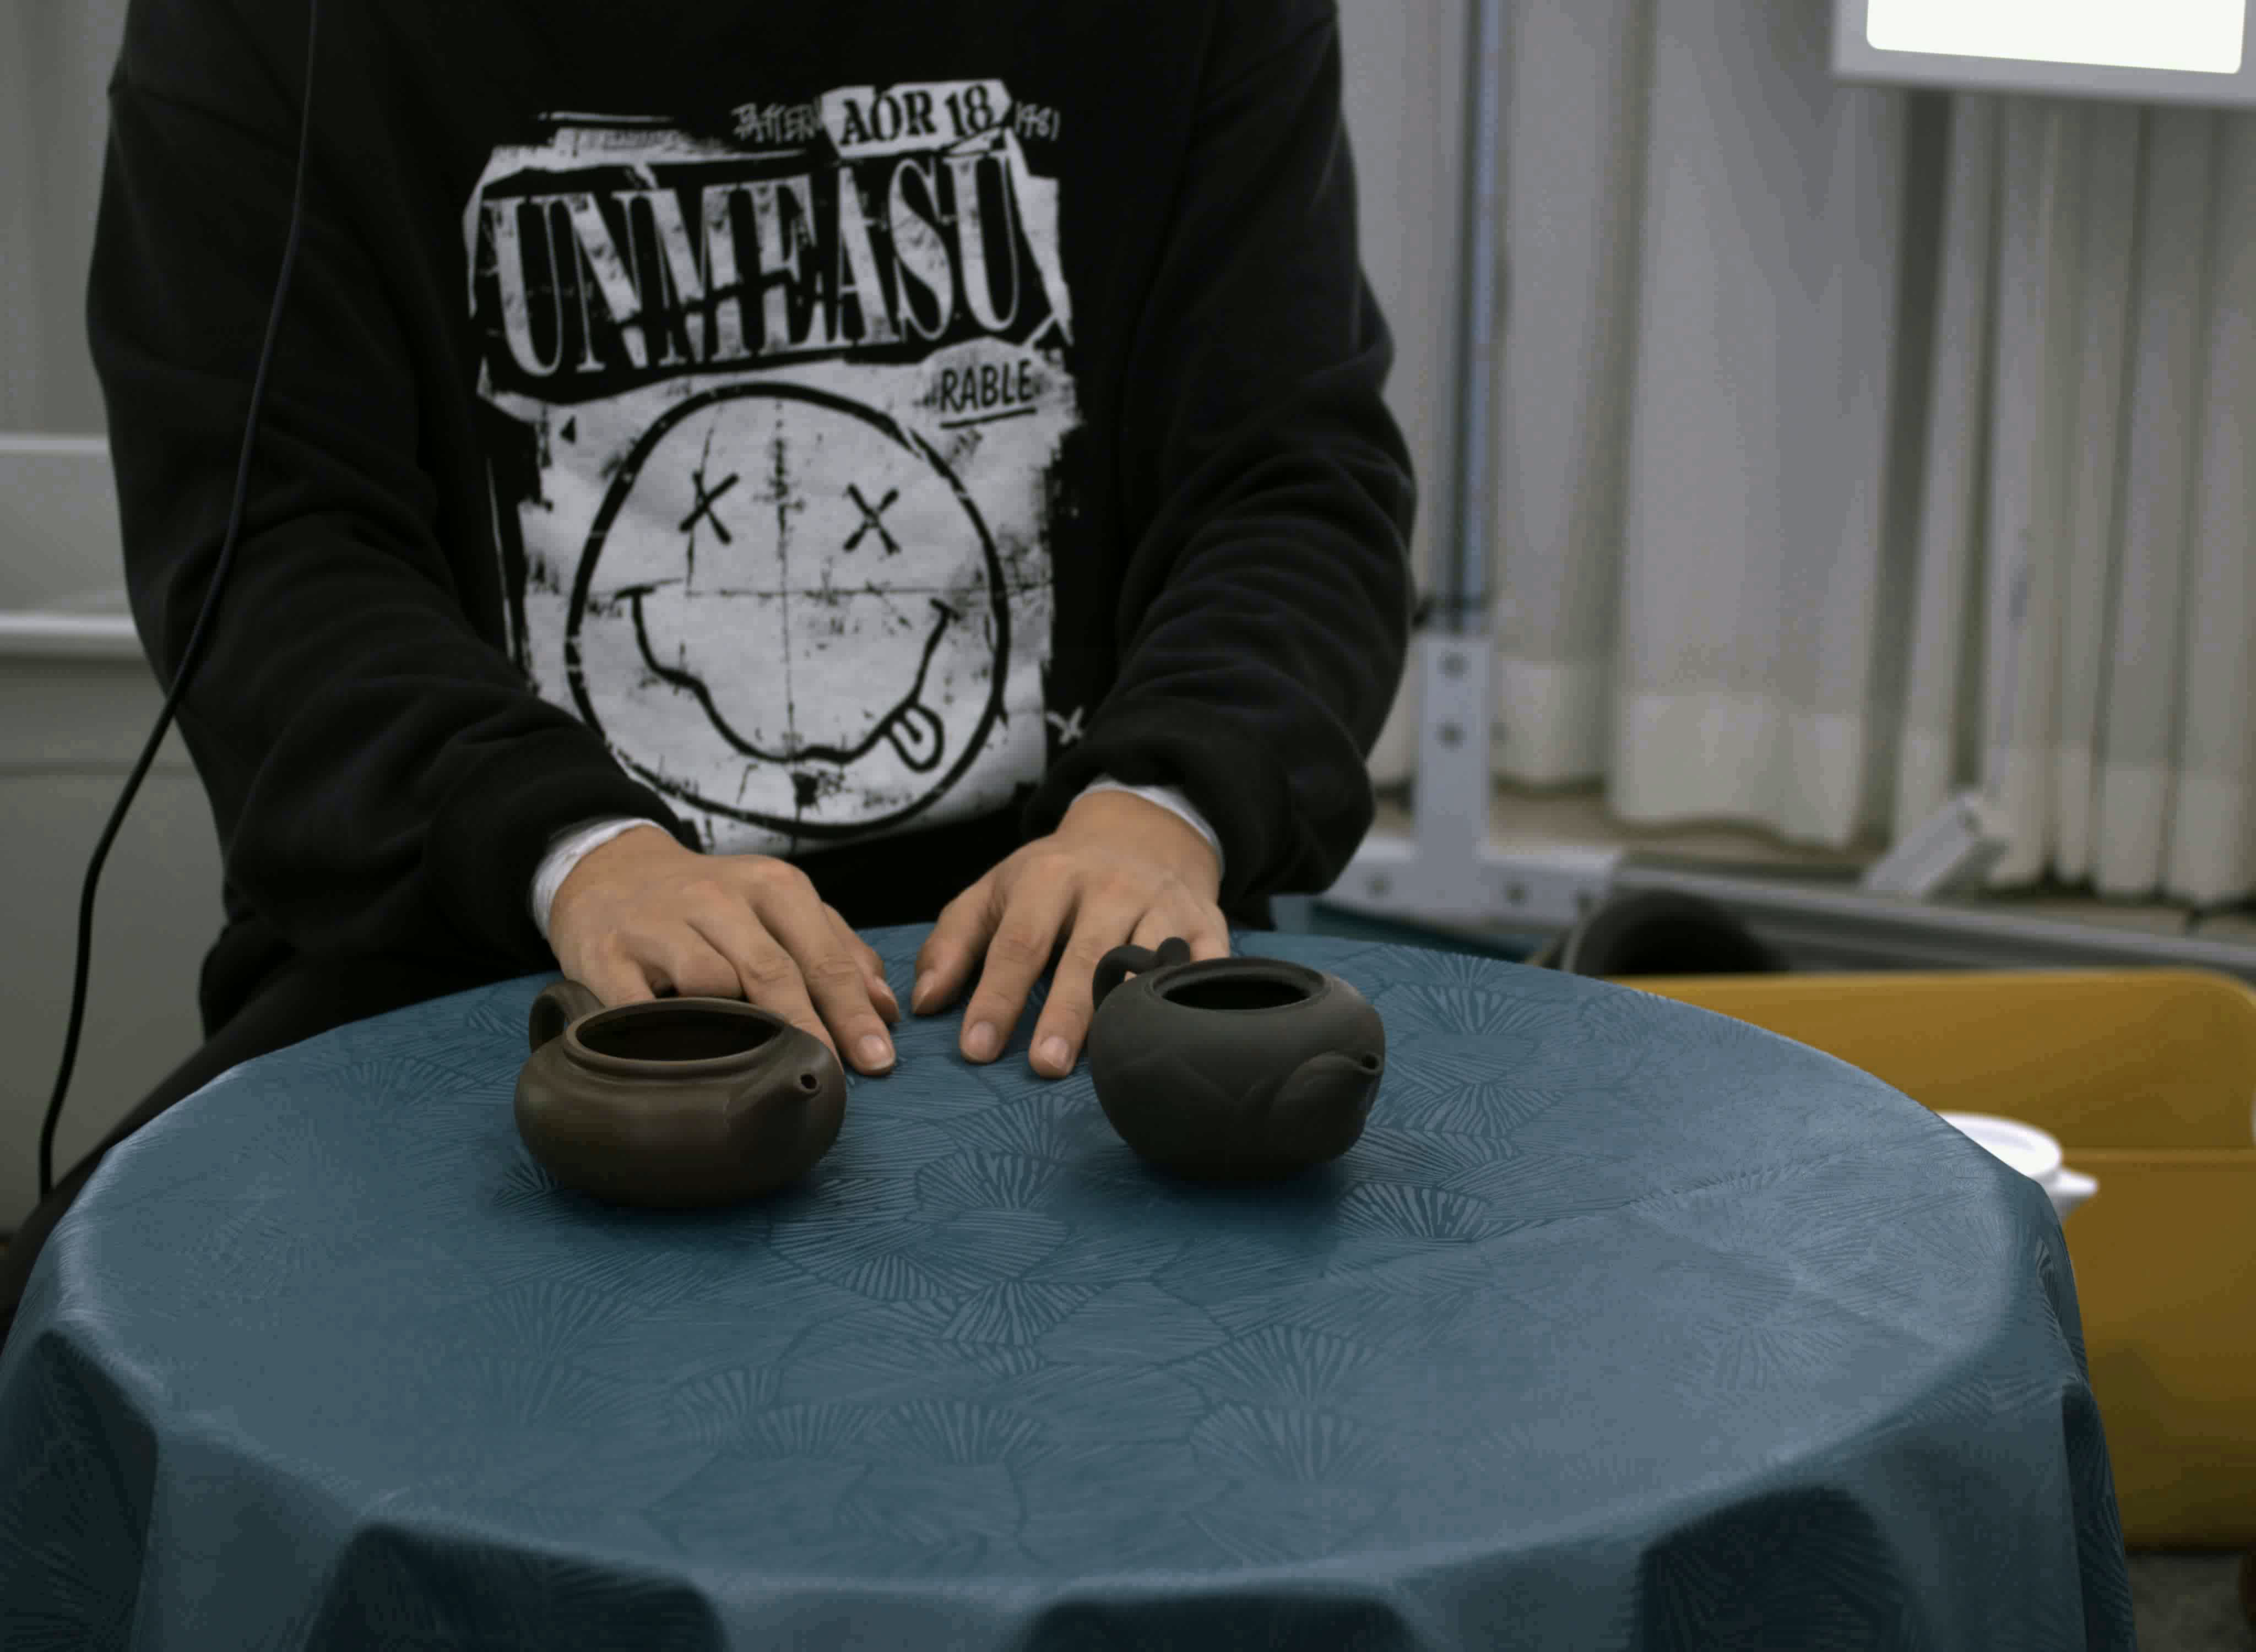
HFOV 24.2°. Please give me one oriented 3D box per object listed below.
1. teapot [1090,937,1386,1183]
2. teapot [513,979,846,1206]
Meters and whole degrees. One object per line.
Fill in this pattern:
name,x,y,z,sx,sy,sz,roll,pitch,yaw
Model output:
teapot,0.033,0.073,1.645,0.093,0.065,0.152,-8,18,-32
teapot,-0.141,0.082,1.626,0.103,0.054,0.151,-11,20,-43
